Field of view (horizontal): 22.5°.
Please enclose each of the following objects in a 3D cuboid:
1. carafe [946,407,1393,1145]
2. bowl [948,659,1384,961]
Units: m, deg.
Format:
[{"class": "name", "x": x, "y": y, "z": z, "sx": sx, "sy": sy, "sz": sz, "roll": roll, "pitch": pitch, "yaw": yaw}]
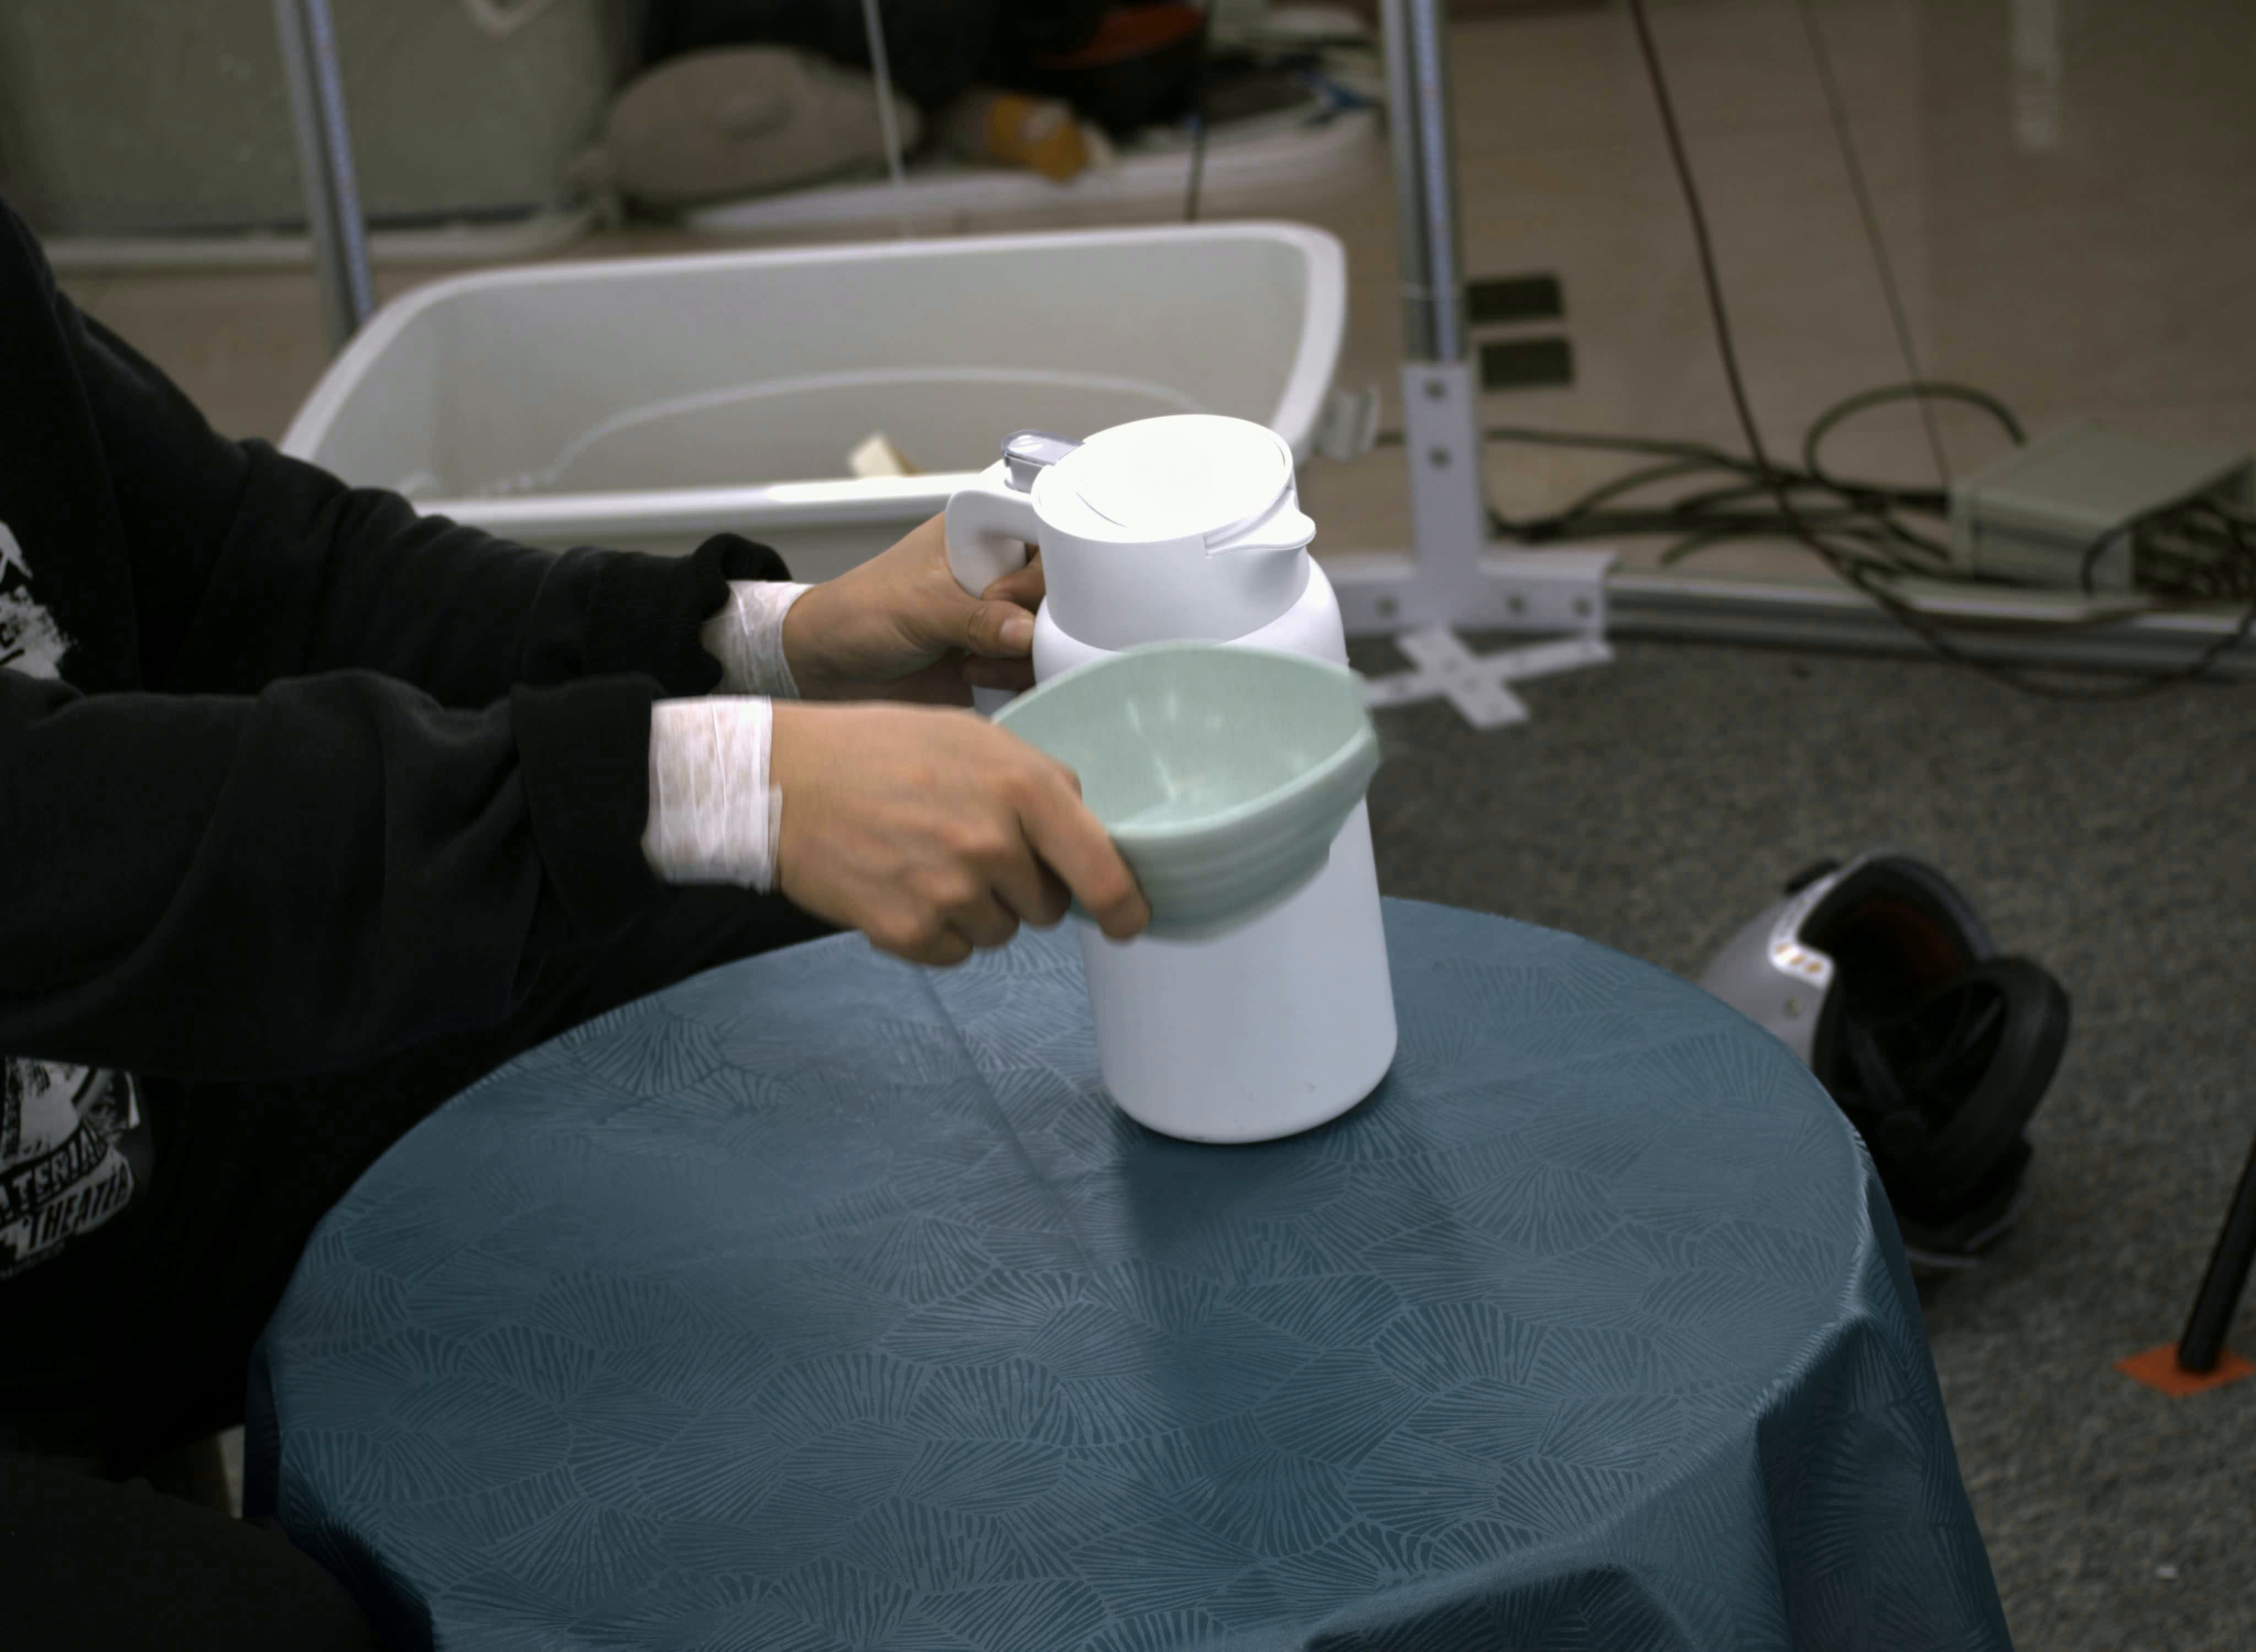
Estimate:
[{"class": "carafe", "x": 0.016, "y": -0.020, "z": 2.156, "sx": 0.171, "sy": 0.274, "sz": 0.122, "roll": 17, "pitch": 42, "yaw": 35}, {"class": "bowl", "x": 0.016, "y": -0.001, "z": 1.958, "sx": 0.151, "sy": 0.059, "sz": 0.149, "roll": -7, "pitch": 27, "yaw": 4}]
